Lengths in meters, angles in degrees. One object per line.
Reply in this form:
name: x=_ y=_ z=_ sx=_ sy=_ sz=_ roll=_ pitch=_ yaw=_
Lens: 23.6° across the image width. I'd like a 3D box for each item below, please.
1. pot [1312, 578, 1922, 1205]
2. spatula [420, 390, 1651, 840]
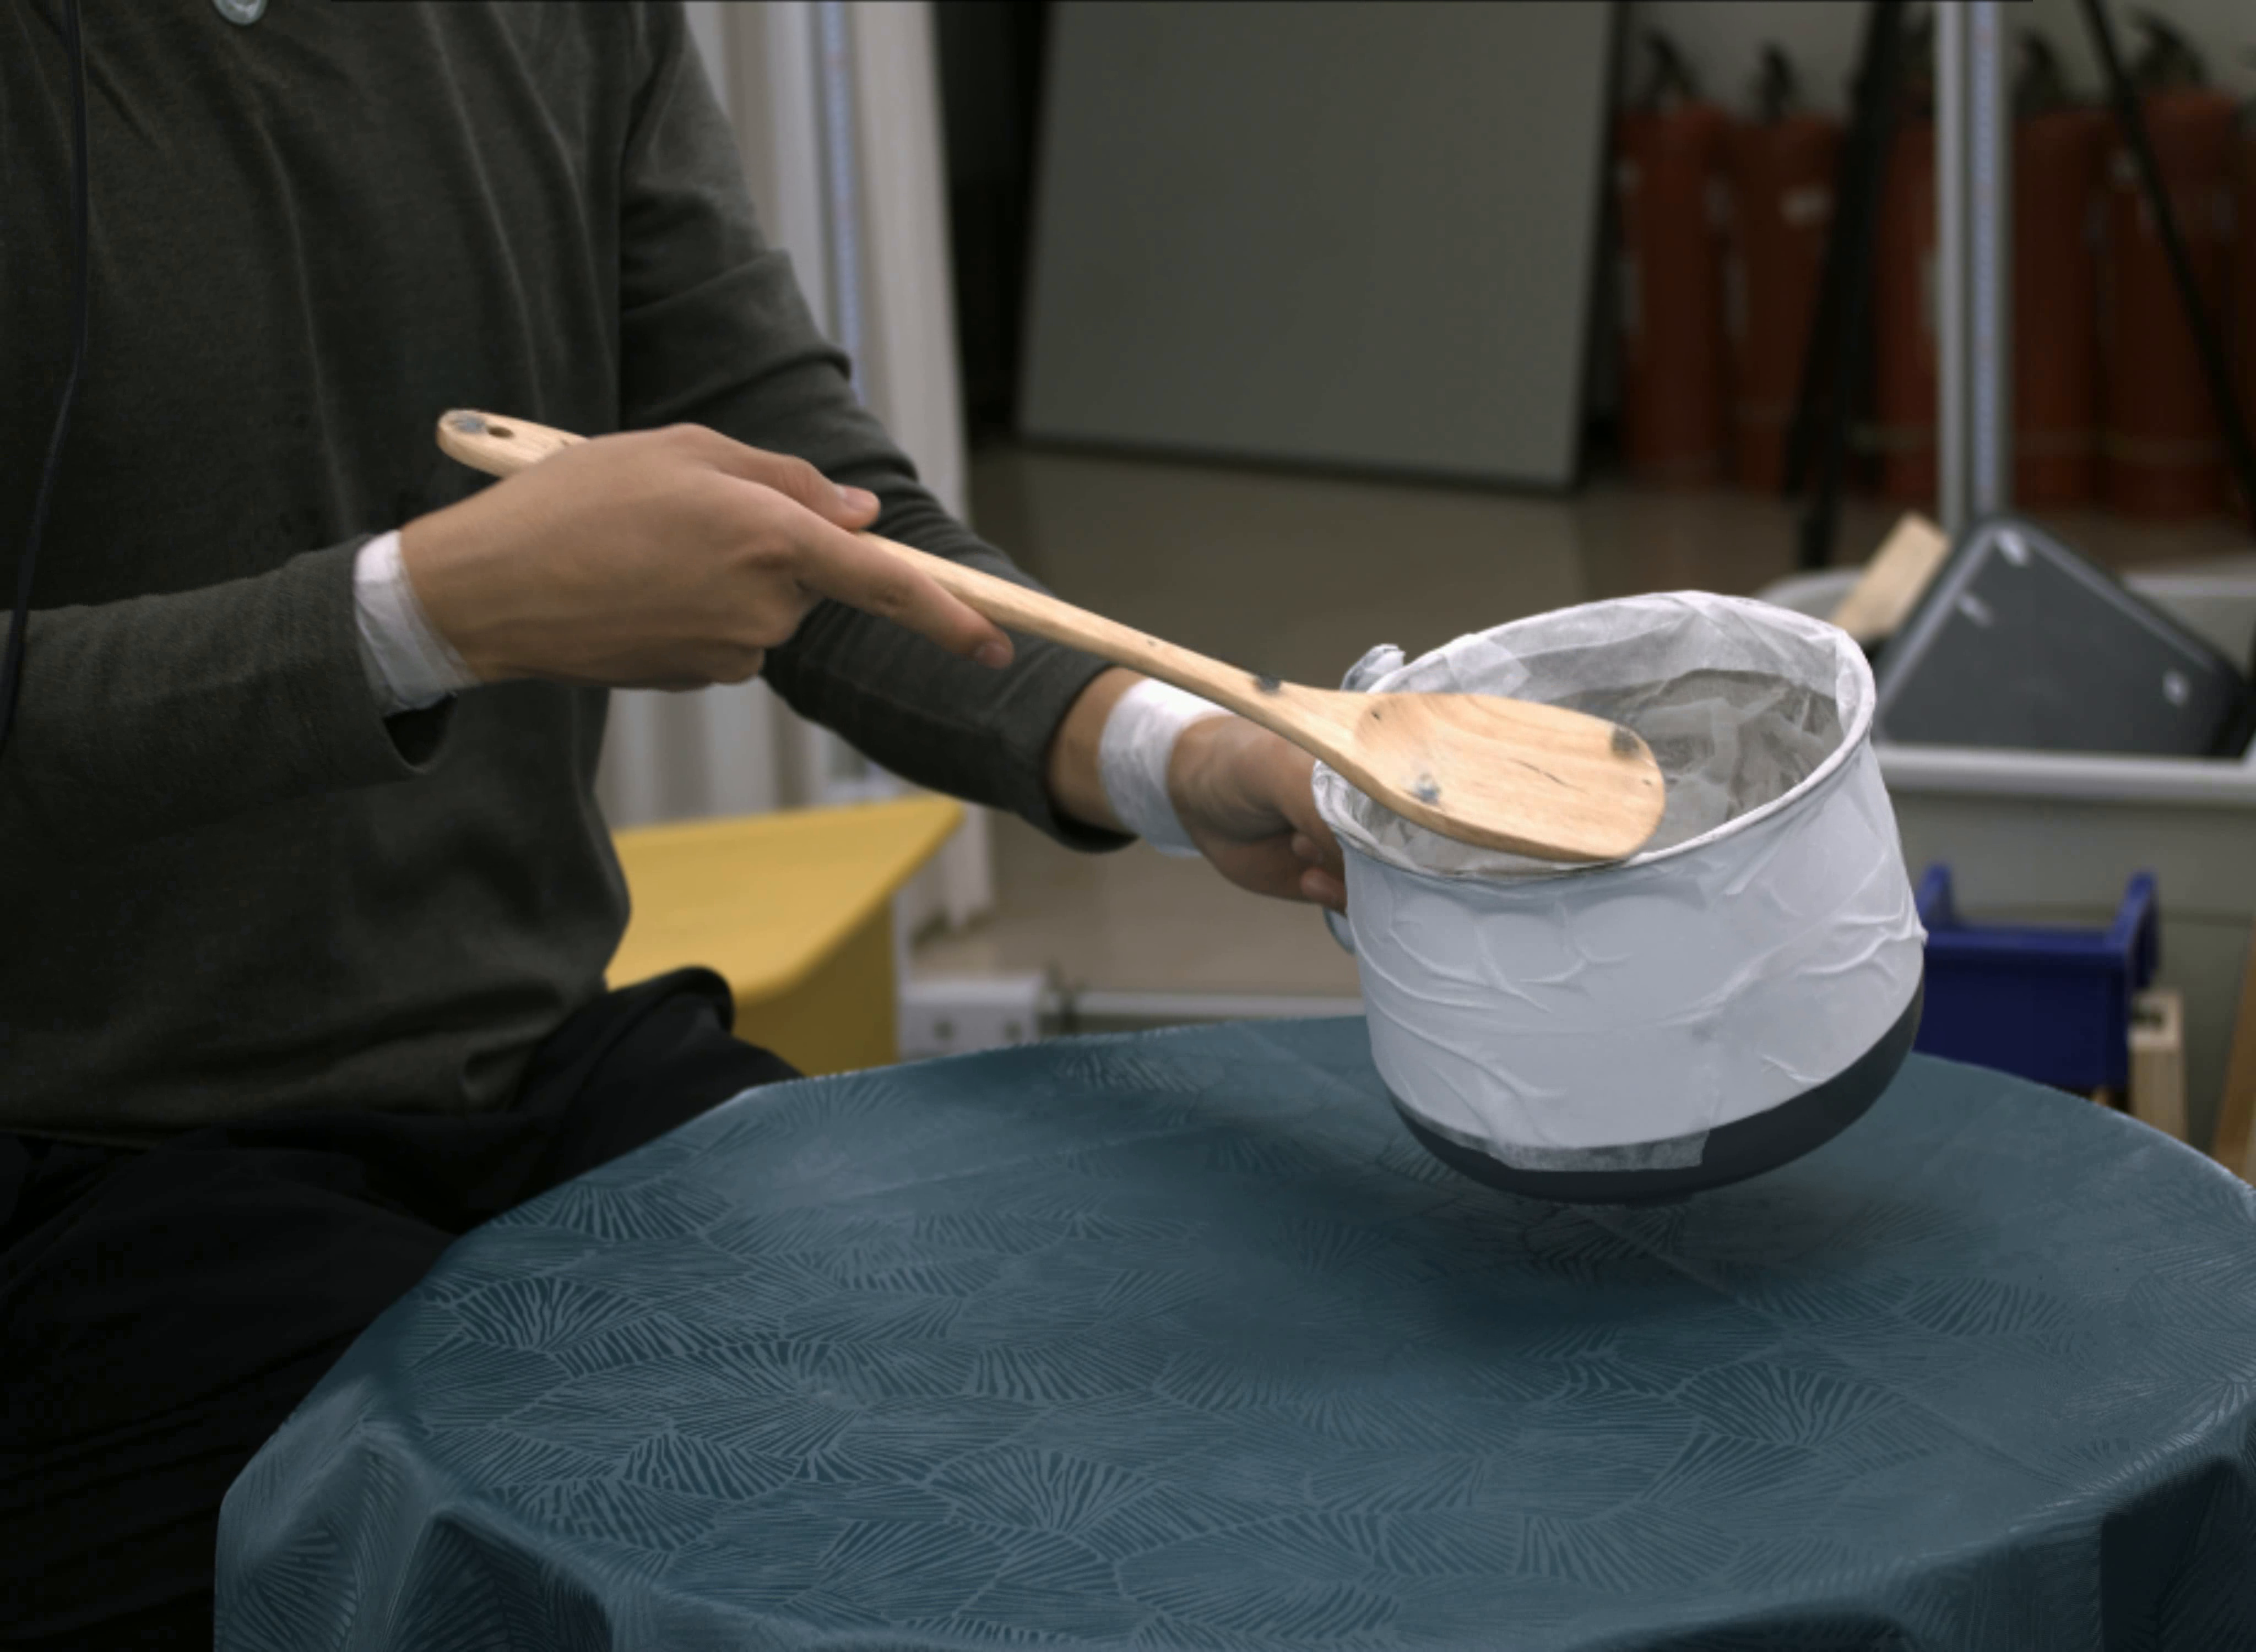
pot: x=0.137 y=0.015 z=1.692 sx=0.176 sy=0.137 sz=0.236 roll=-30 pitch=31 yaw=-30
spatula: x=-0.030 y=-0.066 z=1.611 sx=0.388 sy=0.018 sz=0.095 roll=19 pitch=26 yaw=6
